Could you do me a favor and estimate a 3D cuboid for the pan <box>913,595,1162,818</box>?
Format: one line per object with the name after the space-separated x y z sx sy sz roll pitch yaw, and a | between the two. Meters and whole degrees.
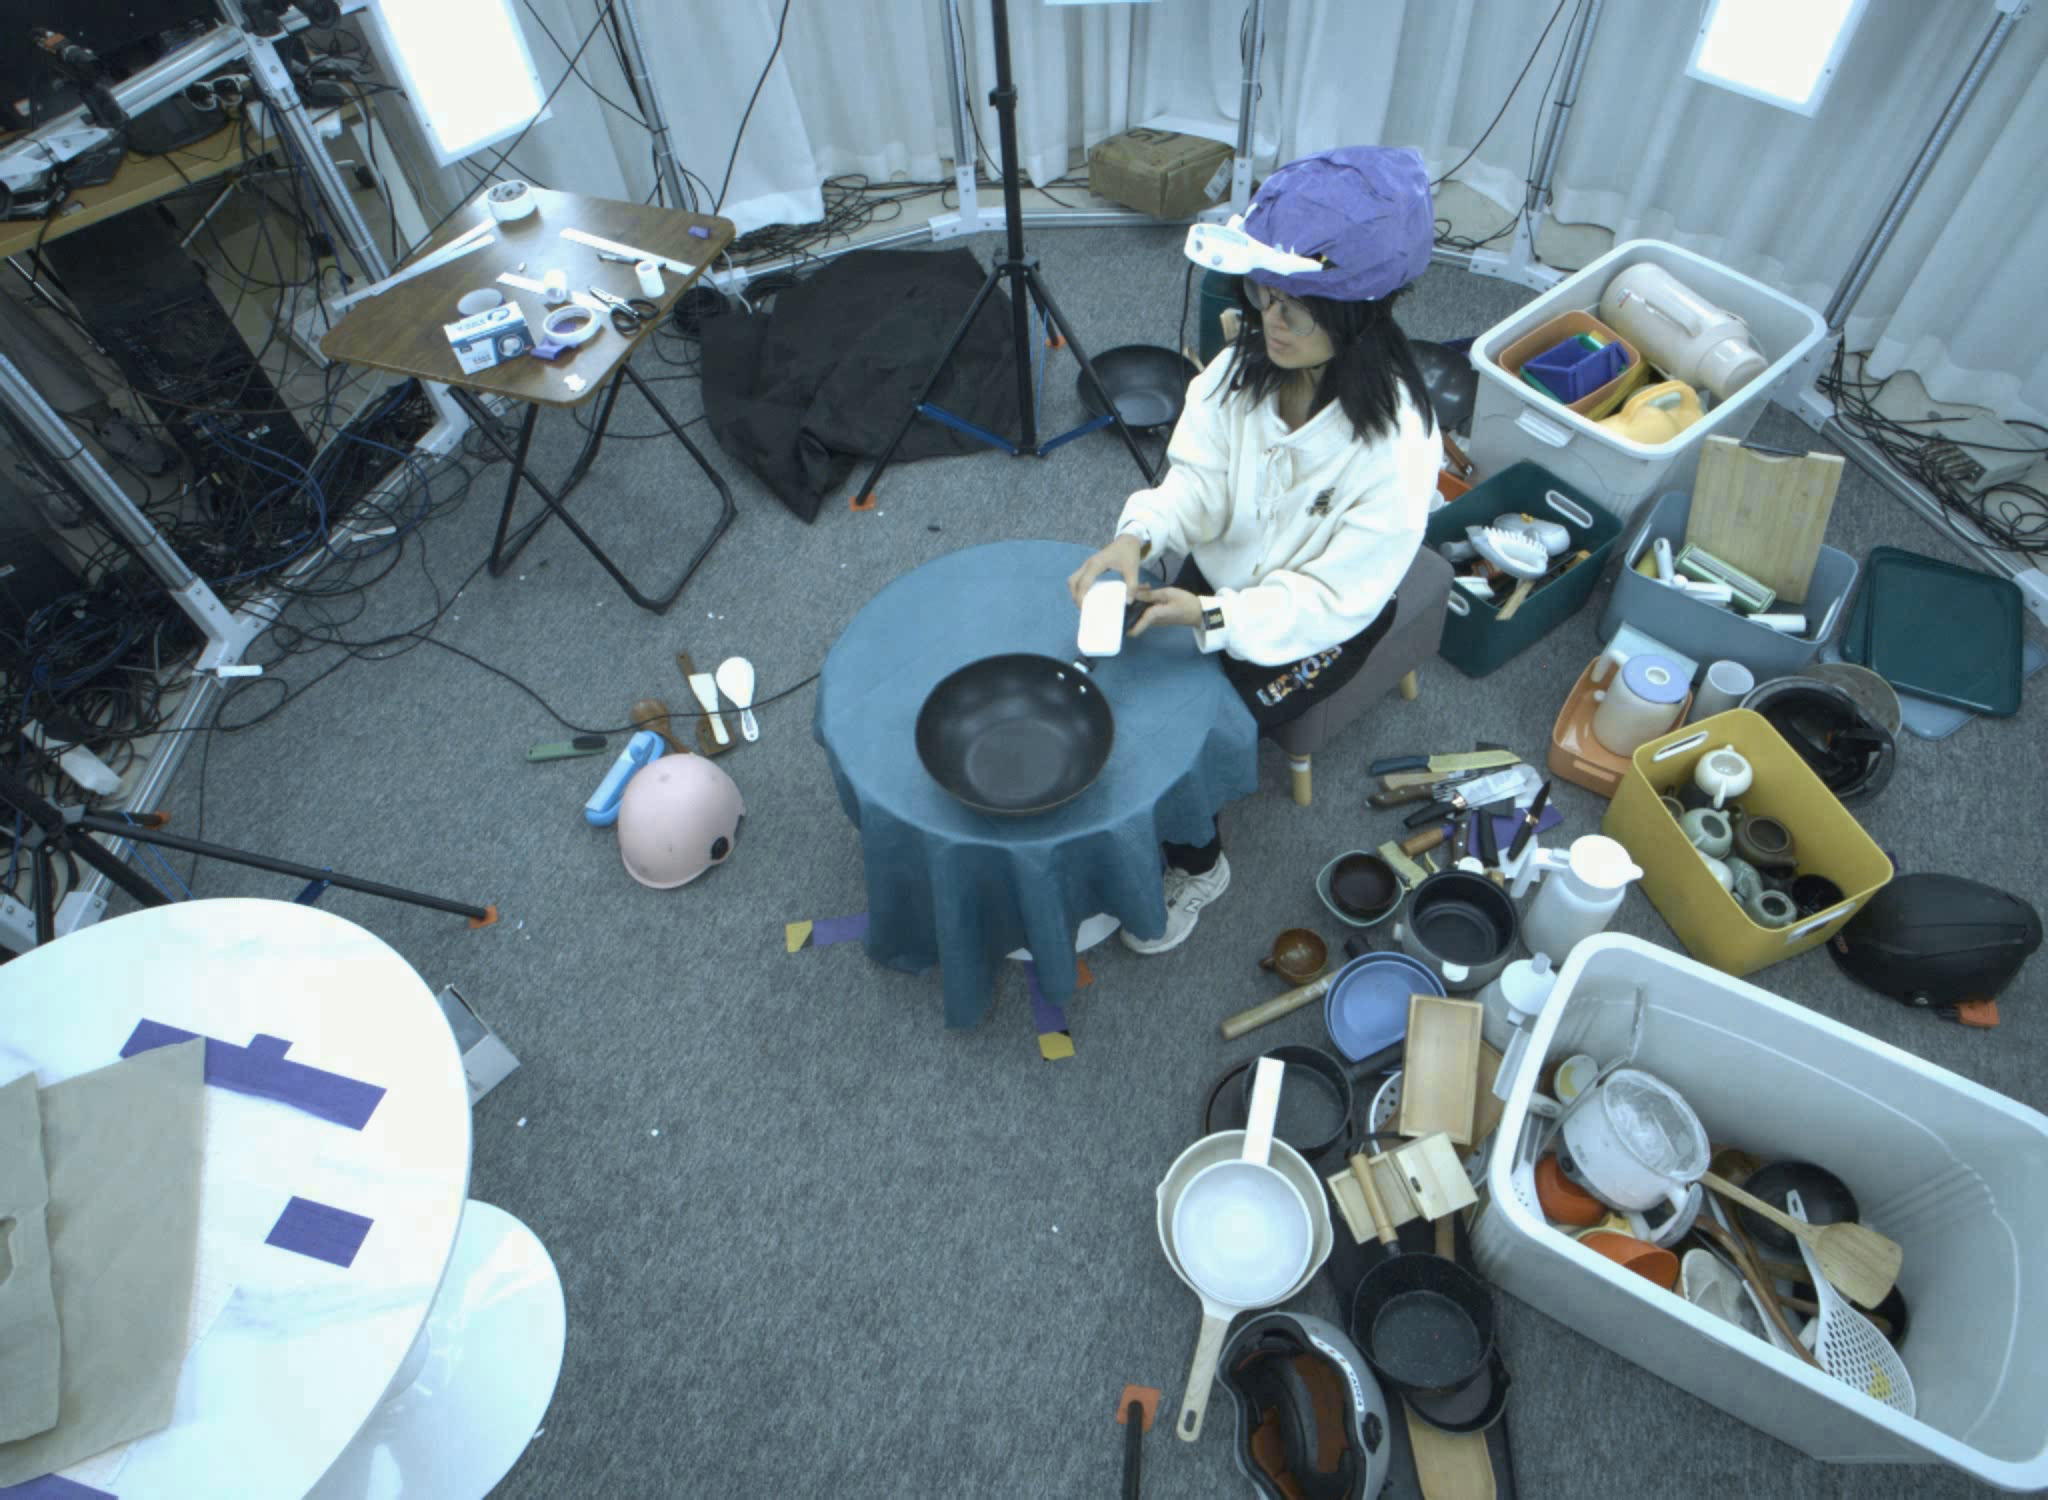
0.046 -0.067 1.782 0.283 0.088 0.466 34 62 22 | pan

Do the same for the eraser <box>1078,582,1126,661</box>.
0.116 -0.189 1.789 0.063 0.035 0.130 3 59 10 | eraser
